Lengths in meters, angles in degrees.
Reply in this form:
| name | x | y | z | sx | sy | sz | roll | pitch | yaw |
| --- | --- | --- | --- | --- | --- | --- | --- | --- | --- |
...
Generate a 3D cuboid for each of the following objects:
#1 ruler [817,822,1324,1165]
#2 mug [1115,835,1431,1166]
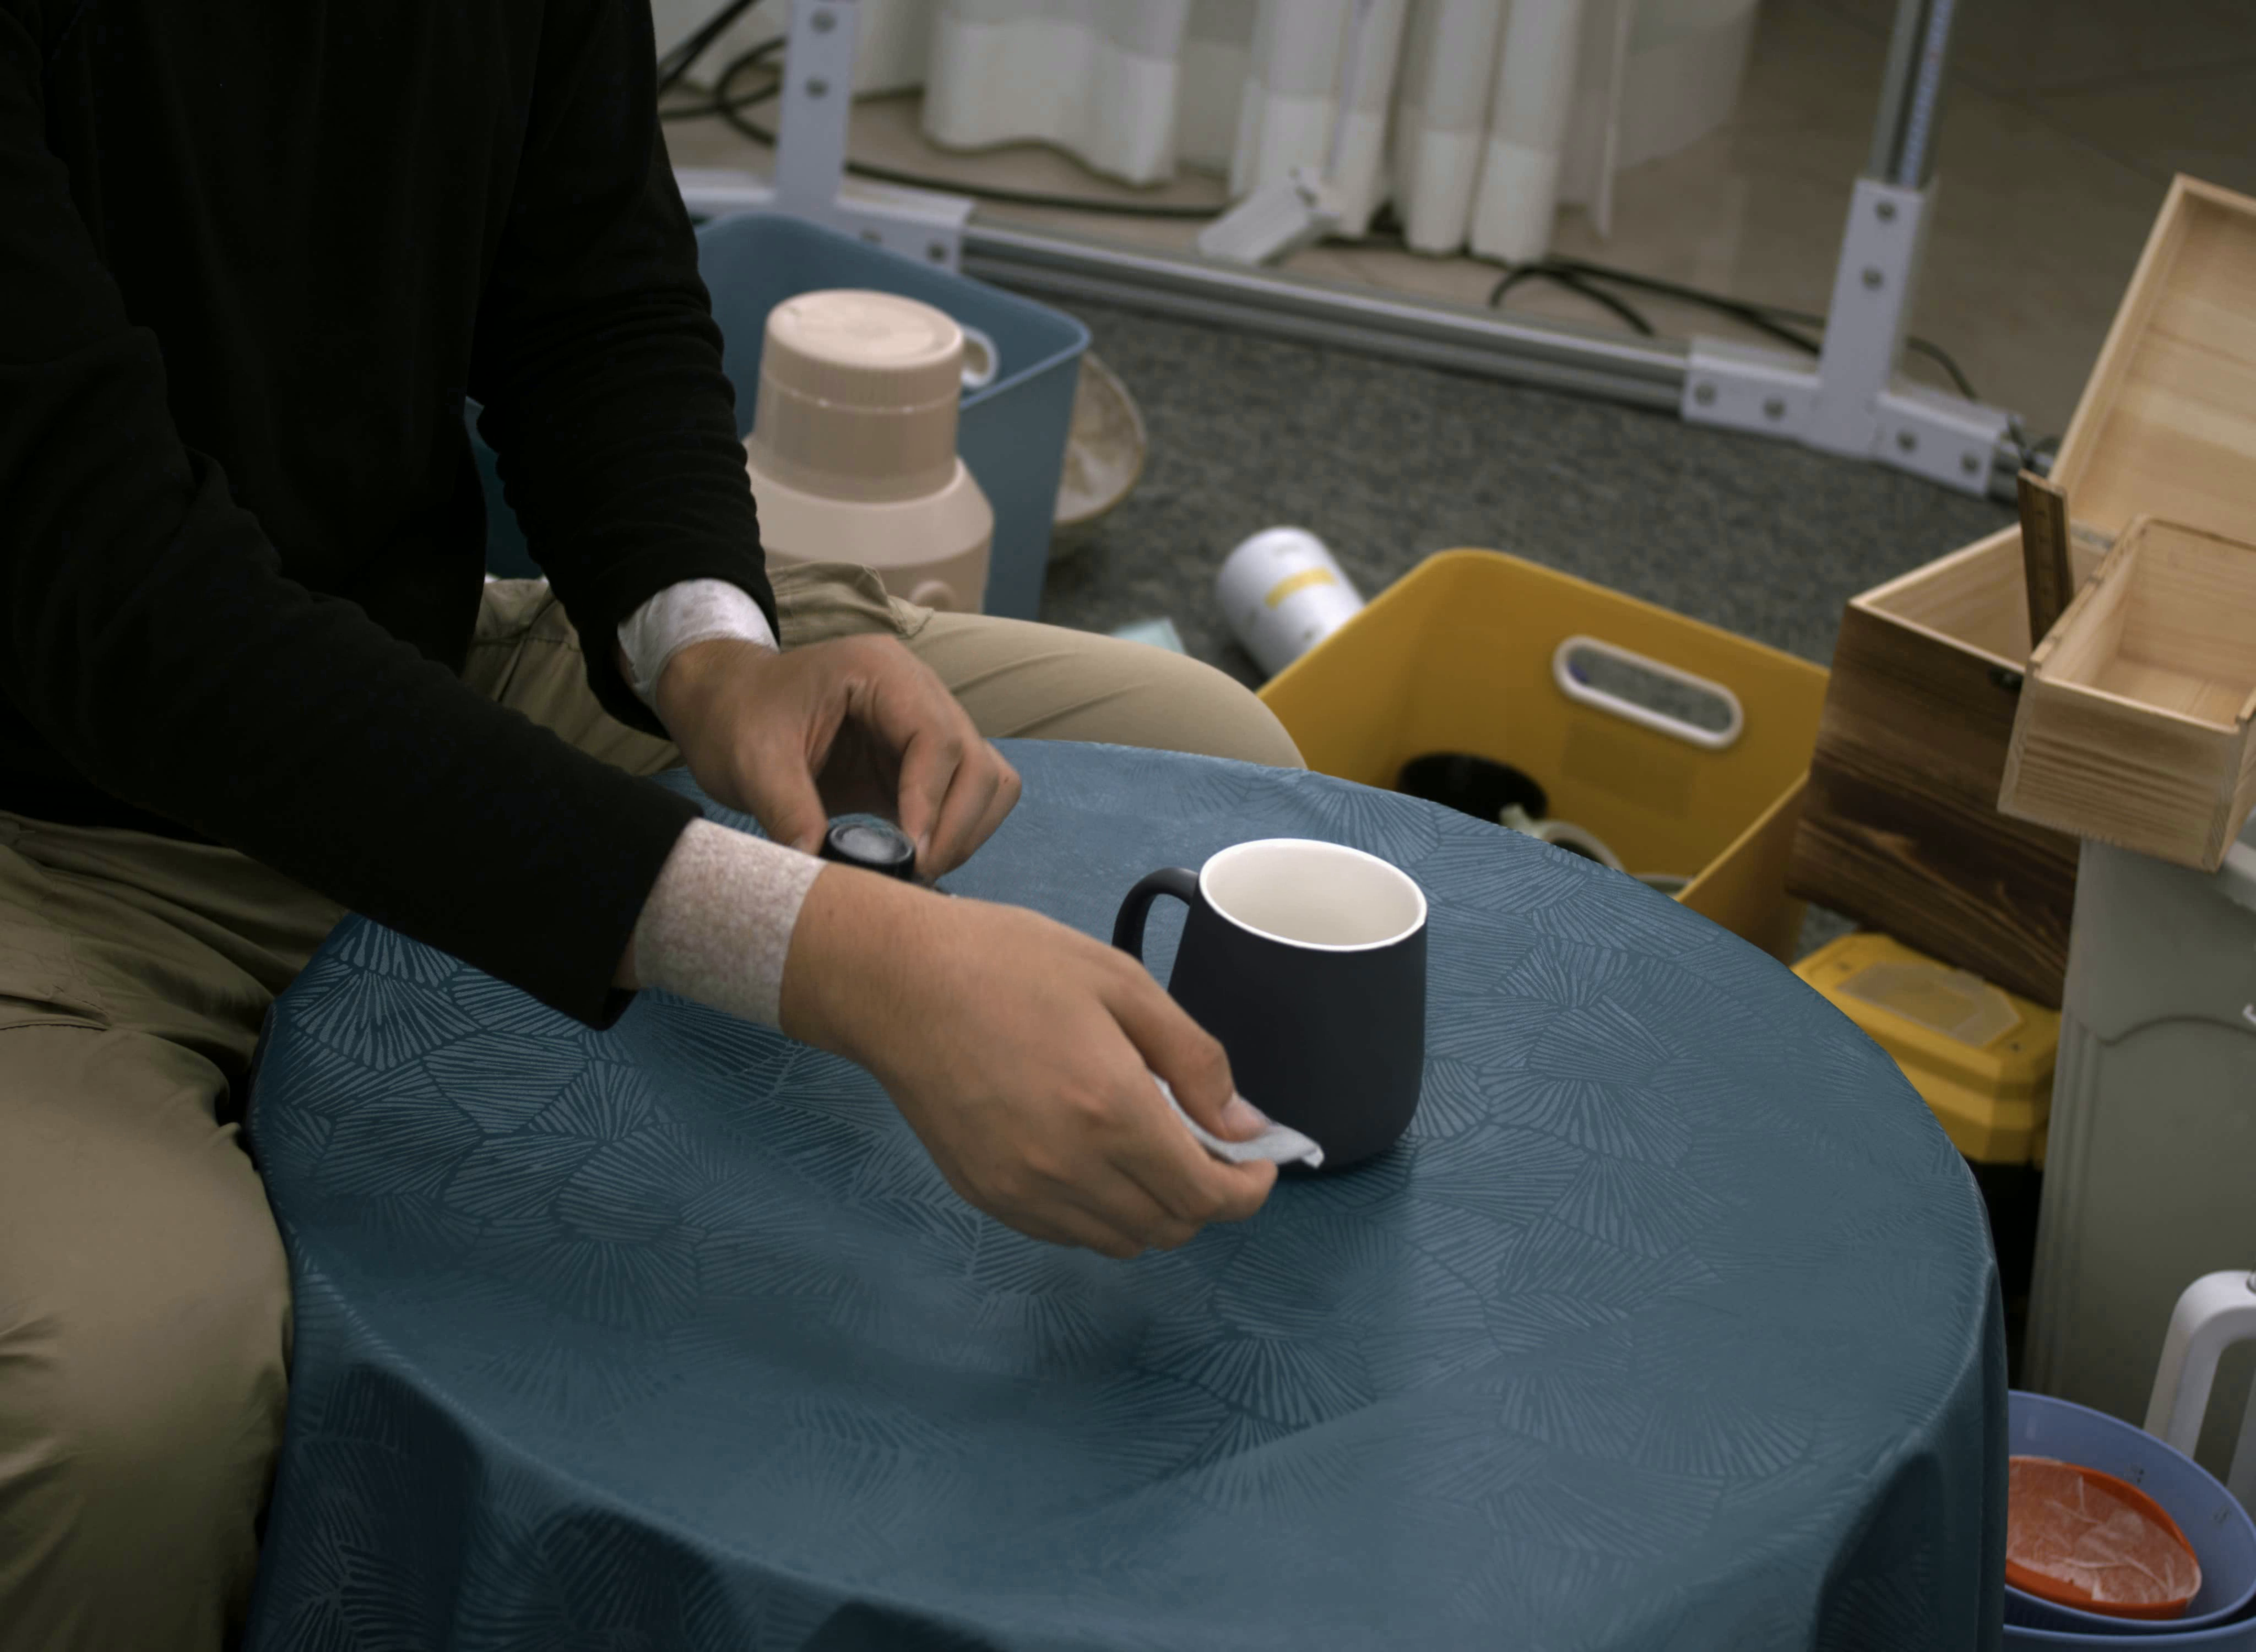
| name | x | y | z | sx | sy | sz | roll | pitch | yaw |
| --- | --- | --- | --- | --- | --- | --- | --- | --- | --- |
| ruler | -0.024 | 0.052 | 1.762 | 0.038 | 0.024 | 0.220 | -20 | 37 | -41 |
| mug | 0.047 | 0.055 | 1.844 | 0.124 | 0.089 | 0.093 | 26 | 32 | 31 |
